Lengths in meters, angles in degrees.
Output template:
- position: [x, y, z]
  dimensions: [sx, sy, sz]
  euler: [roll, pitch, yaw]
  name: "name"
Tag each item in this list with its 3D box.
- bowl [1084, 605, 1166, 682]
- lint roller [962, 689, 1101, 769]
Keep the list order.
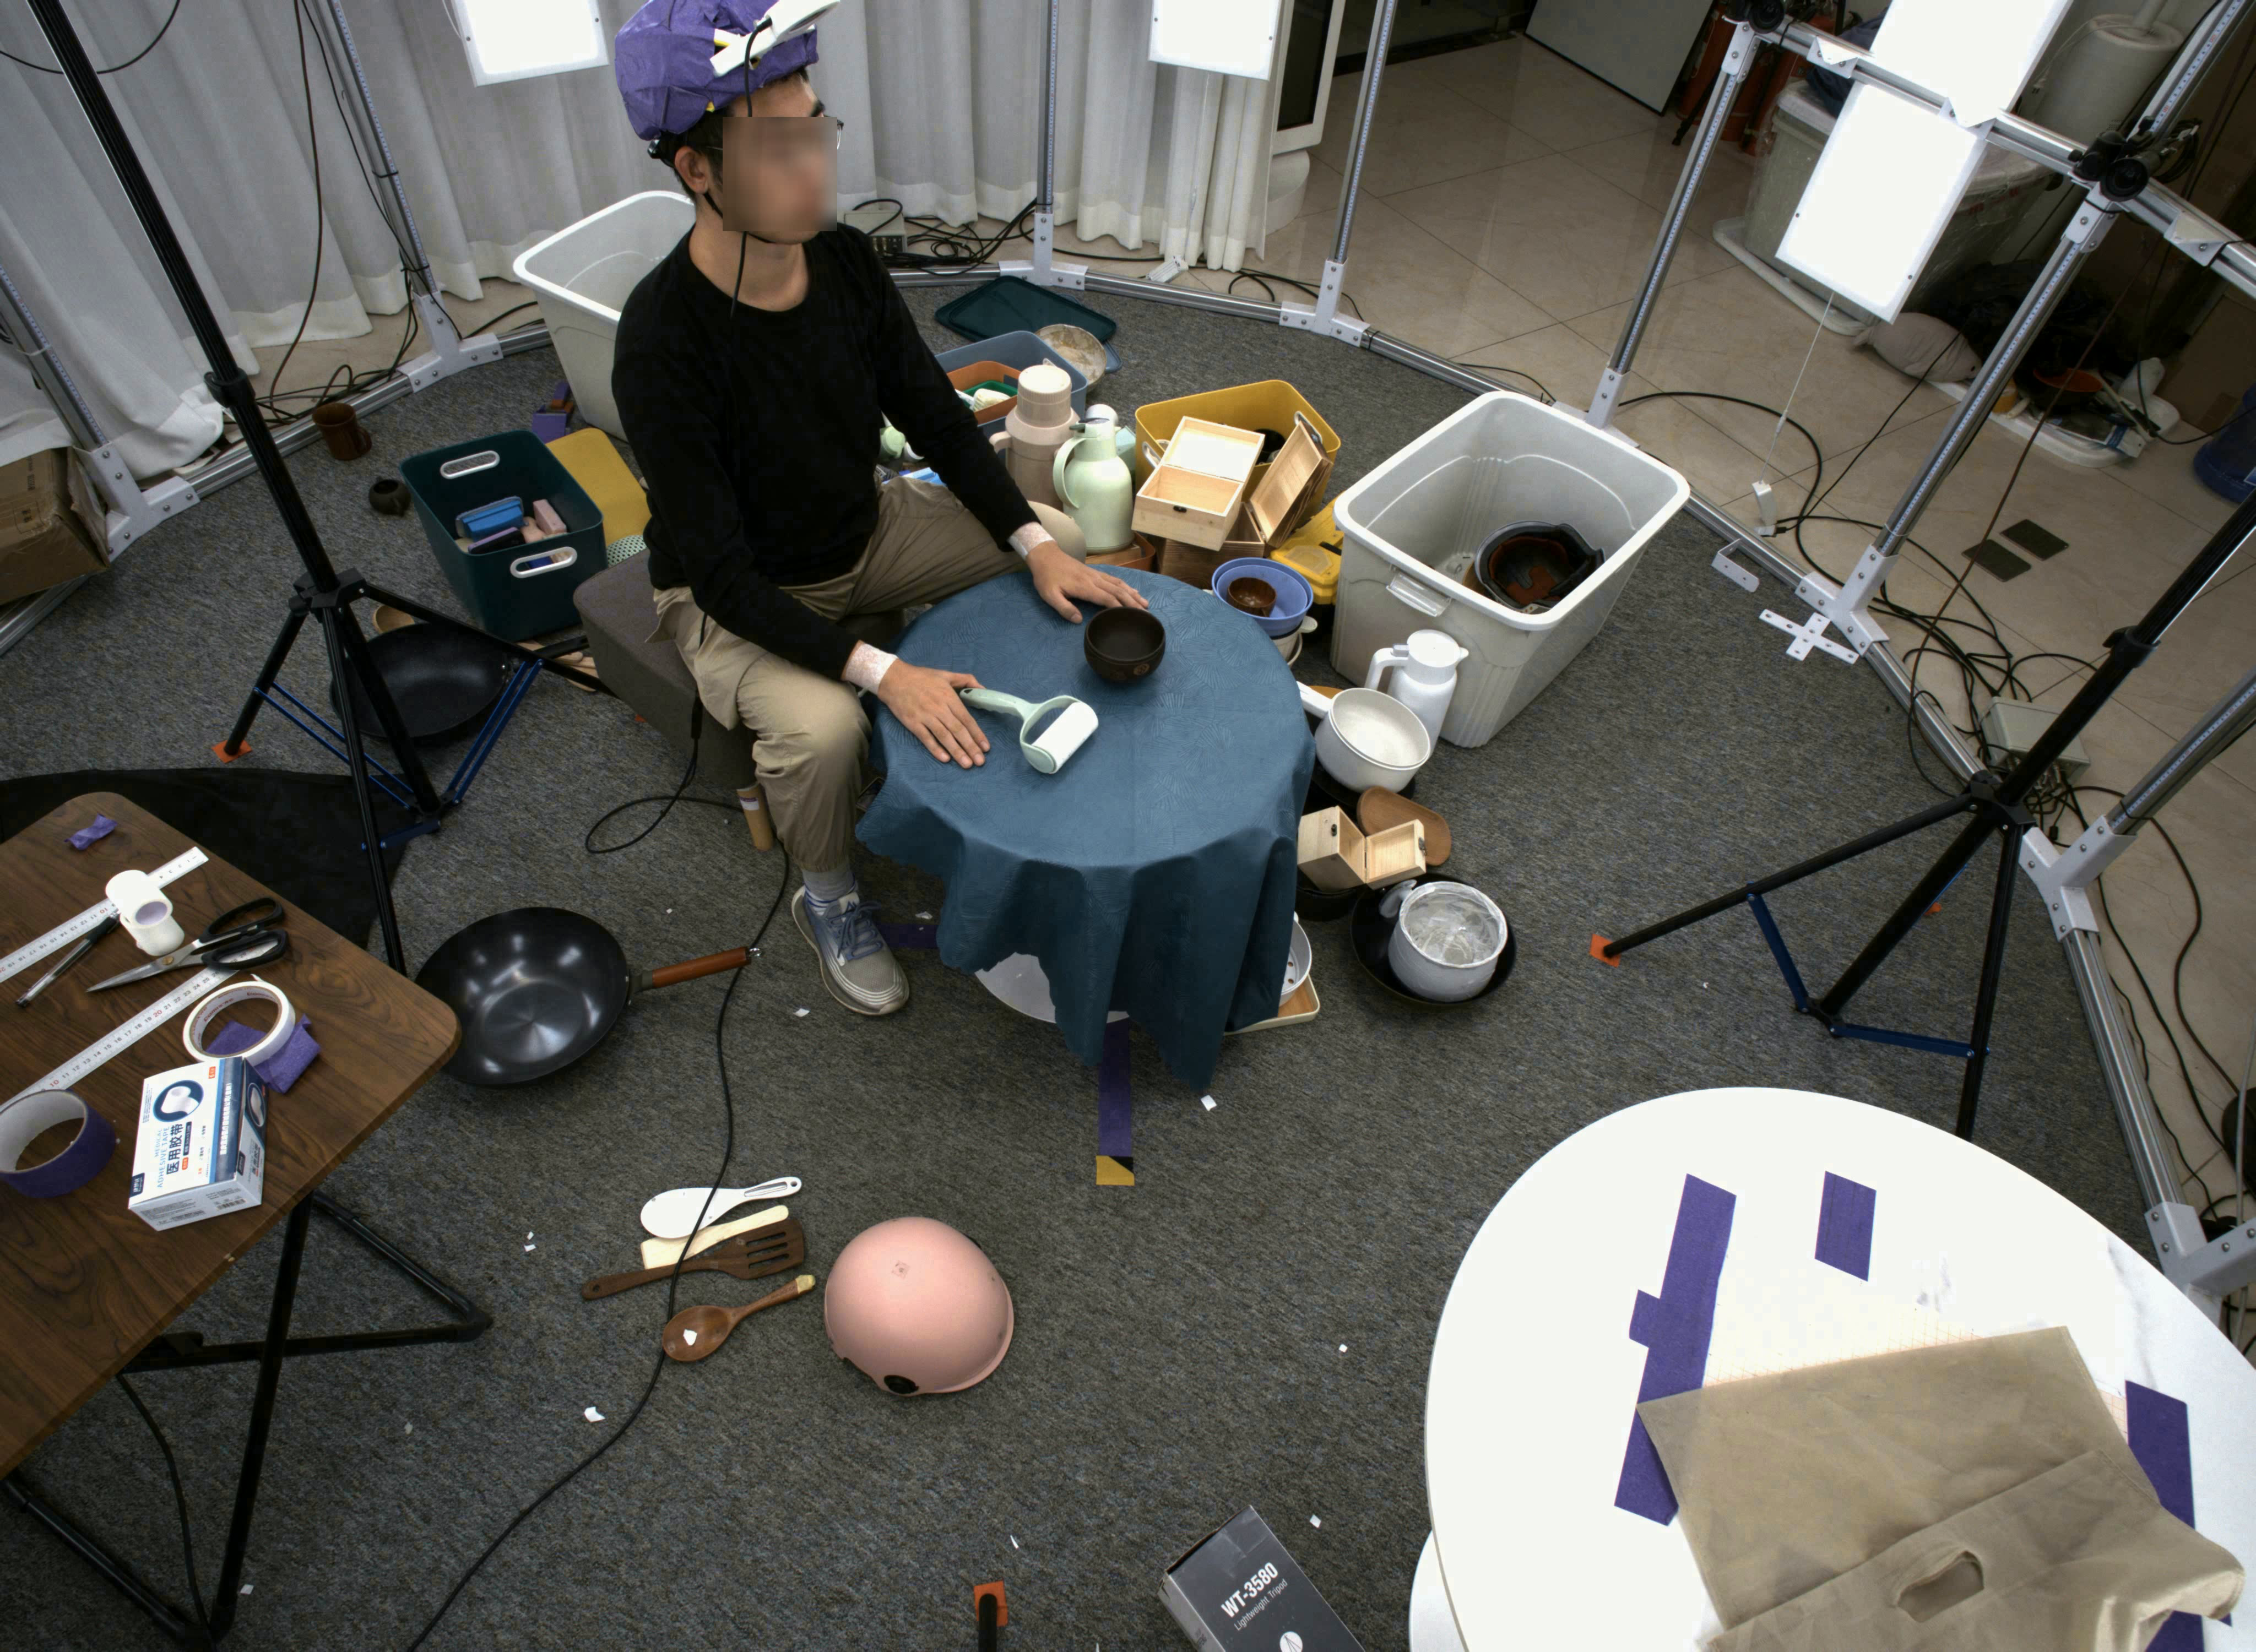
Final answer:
- position: [-0.005, -0.253, 1.842]
  dimensions: [0.118, 0.068, 0.121]
  euler: [1, 49, -2]
  name: "bowl"
- position: [-0.144, -0.157, 1.767]
  dimensions: [0.199, 0.047, 0.118]
  euler: [26, 53, 20]
  name: "lint roller"
